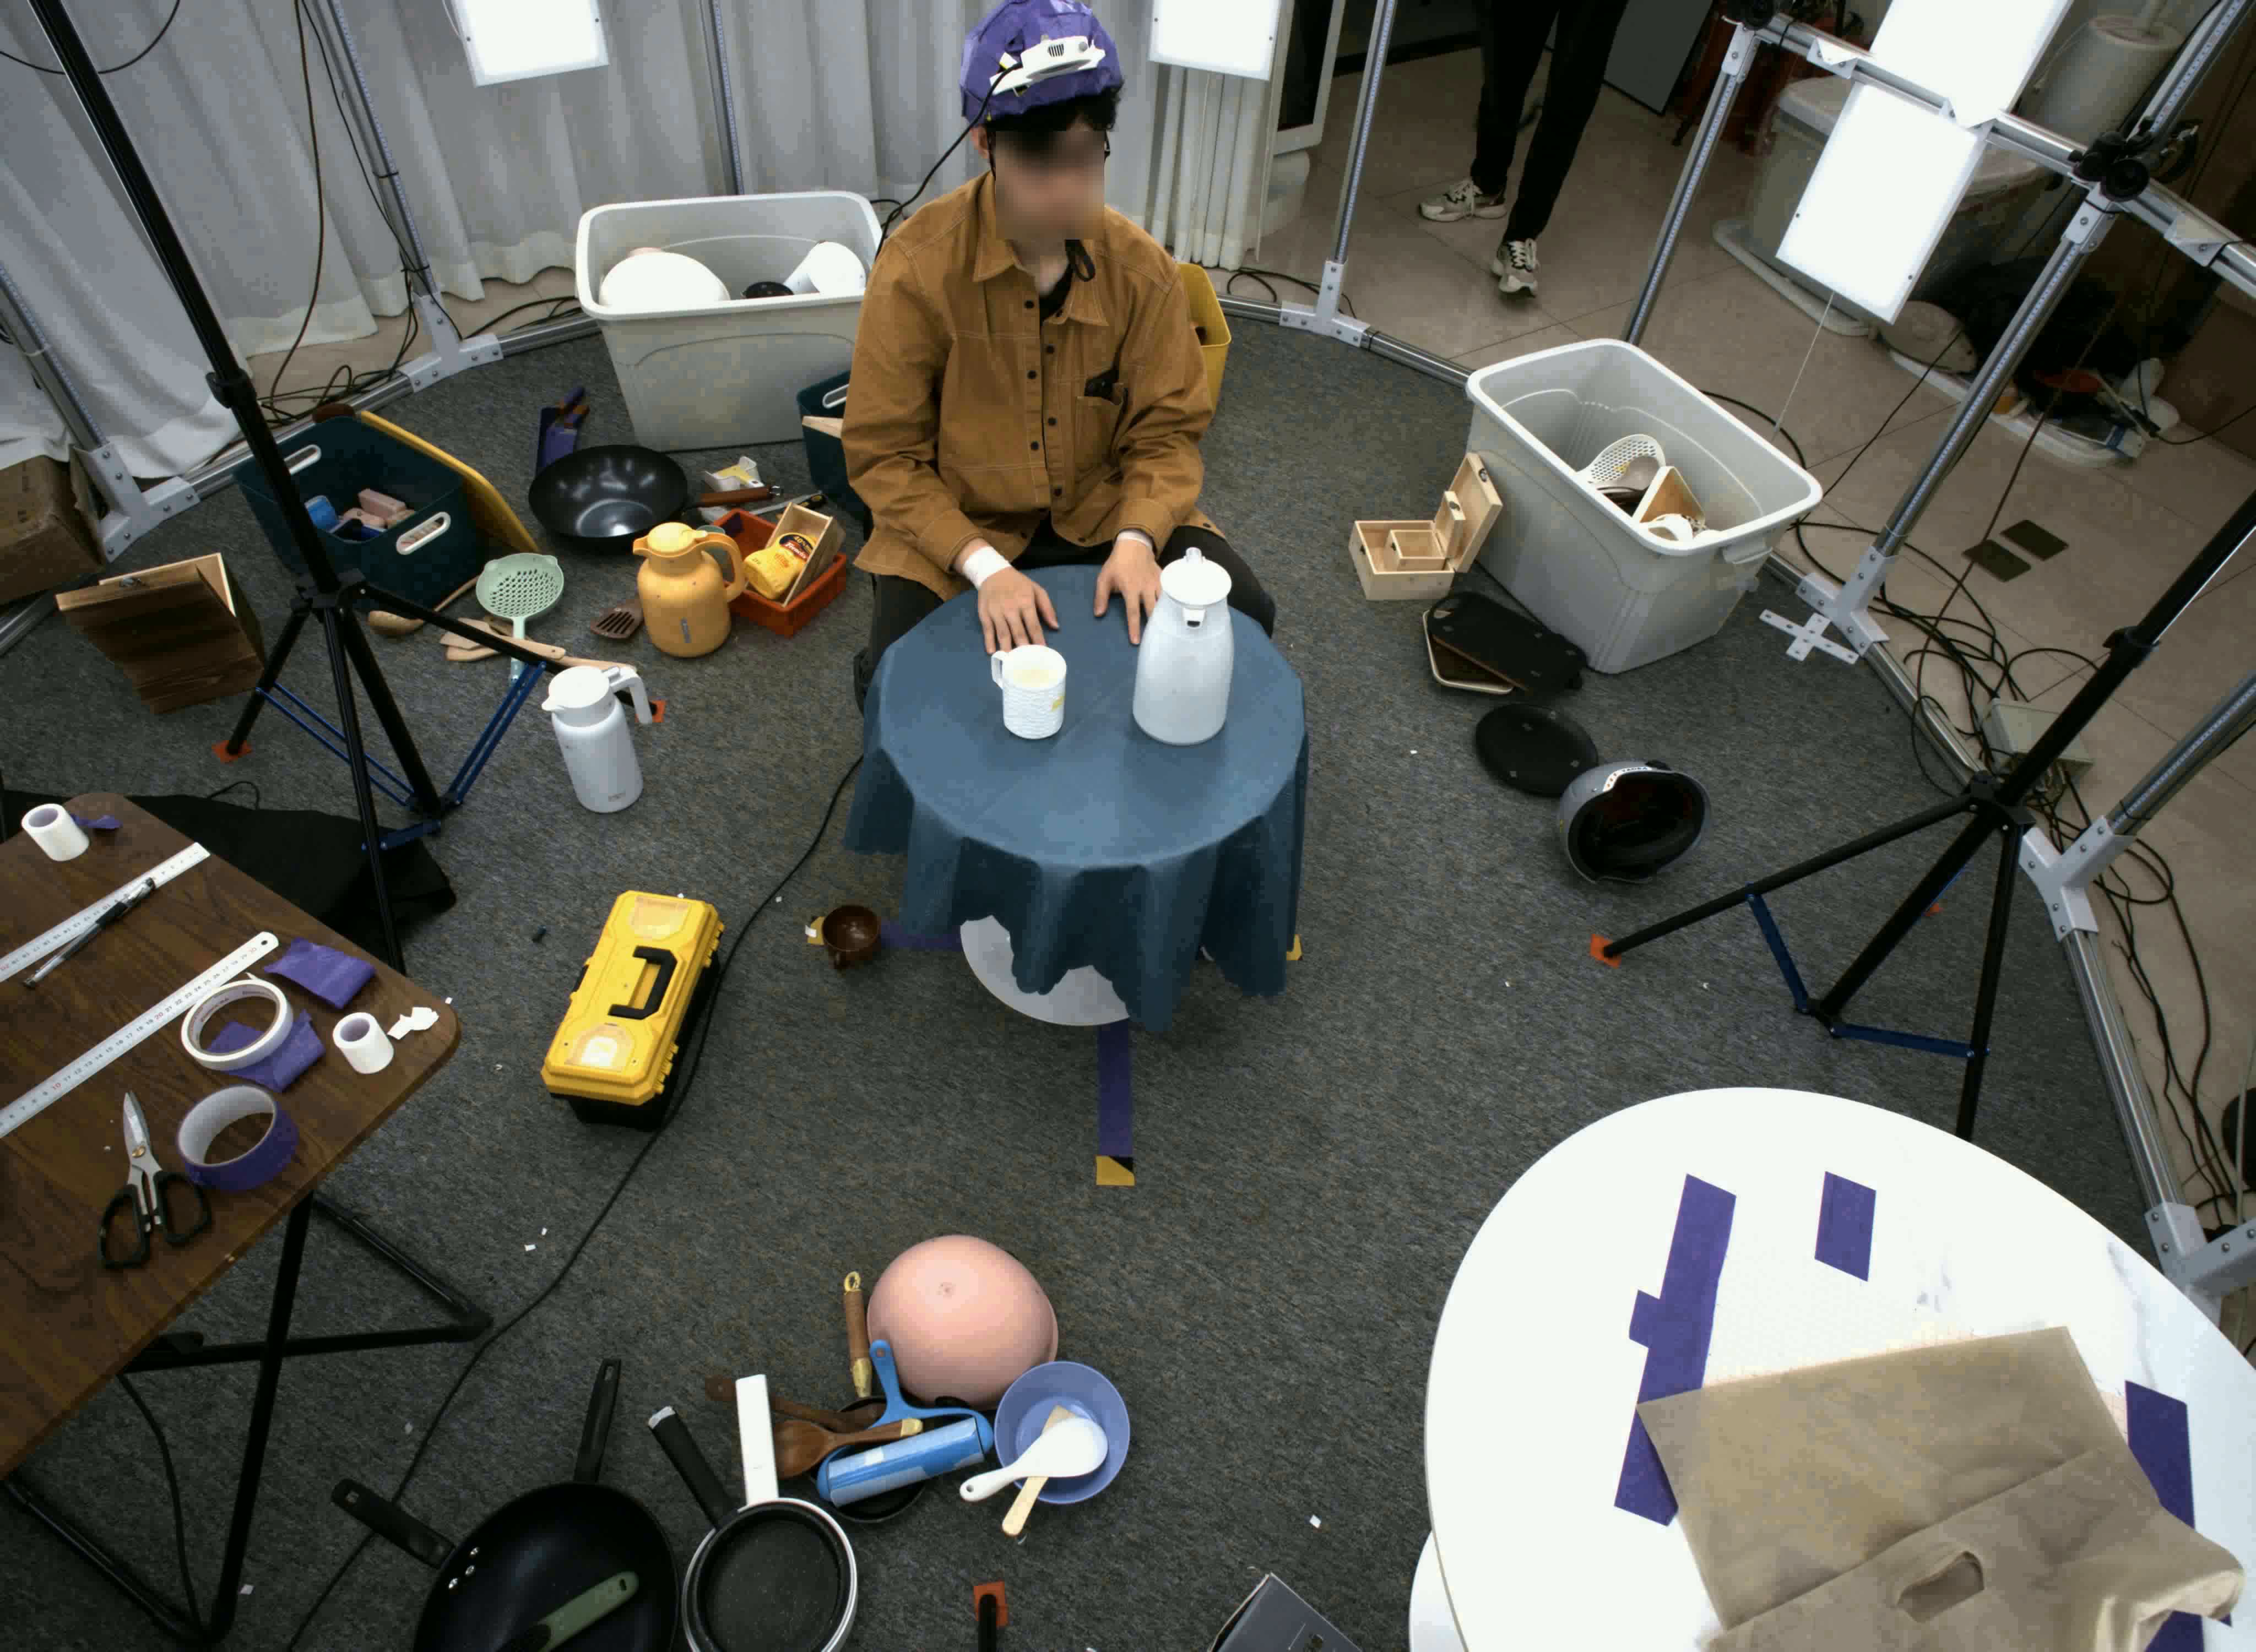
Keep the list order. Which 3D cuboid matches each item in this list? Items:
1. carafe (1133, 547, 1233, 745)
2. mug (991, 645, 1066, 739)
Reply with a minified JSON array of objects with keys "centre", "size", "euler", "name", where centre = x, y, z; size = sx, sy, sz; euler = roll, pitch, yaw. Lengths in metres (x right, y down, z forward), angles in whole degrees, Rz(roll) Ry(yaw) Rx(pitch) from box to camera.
[{"centre":[0.078,-0.255,1.735],"size":[0.132,0.242,0.172],"euler":[3,49,-1],"name":"carafe"},{"centre":[-0.141,-0.189,1.759],"size":[0.120,0.099,0.086],"euler":[33,54,23],"name":"mug"}]
